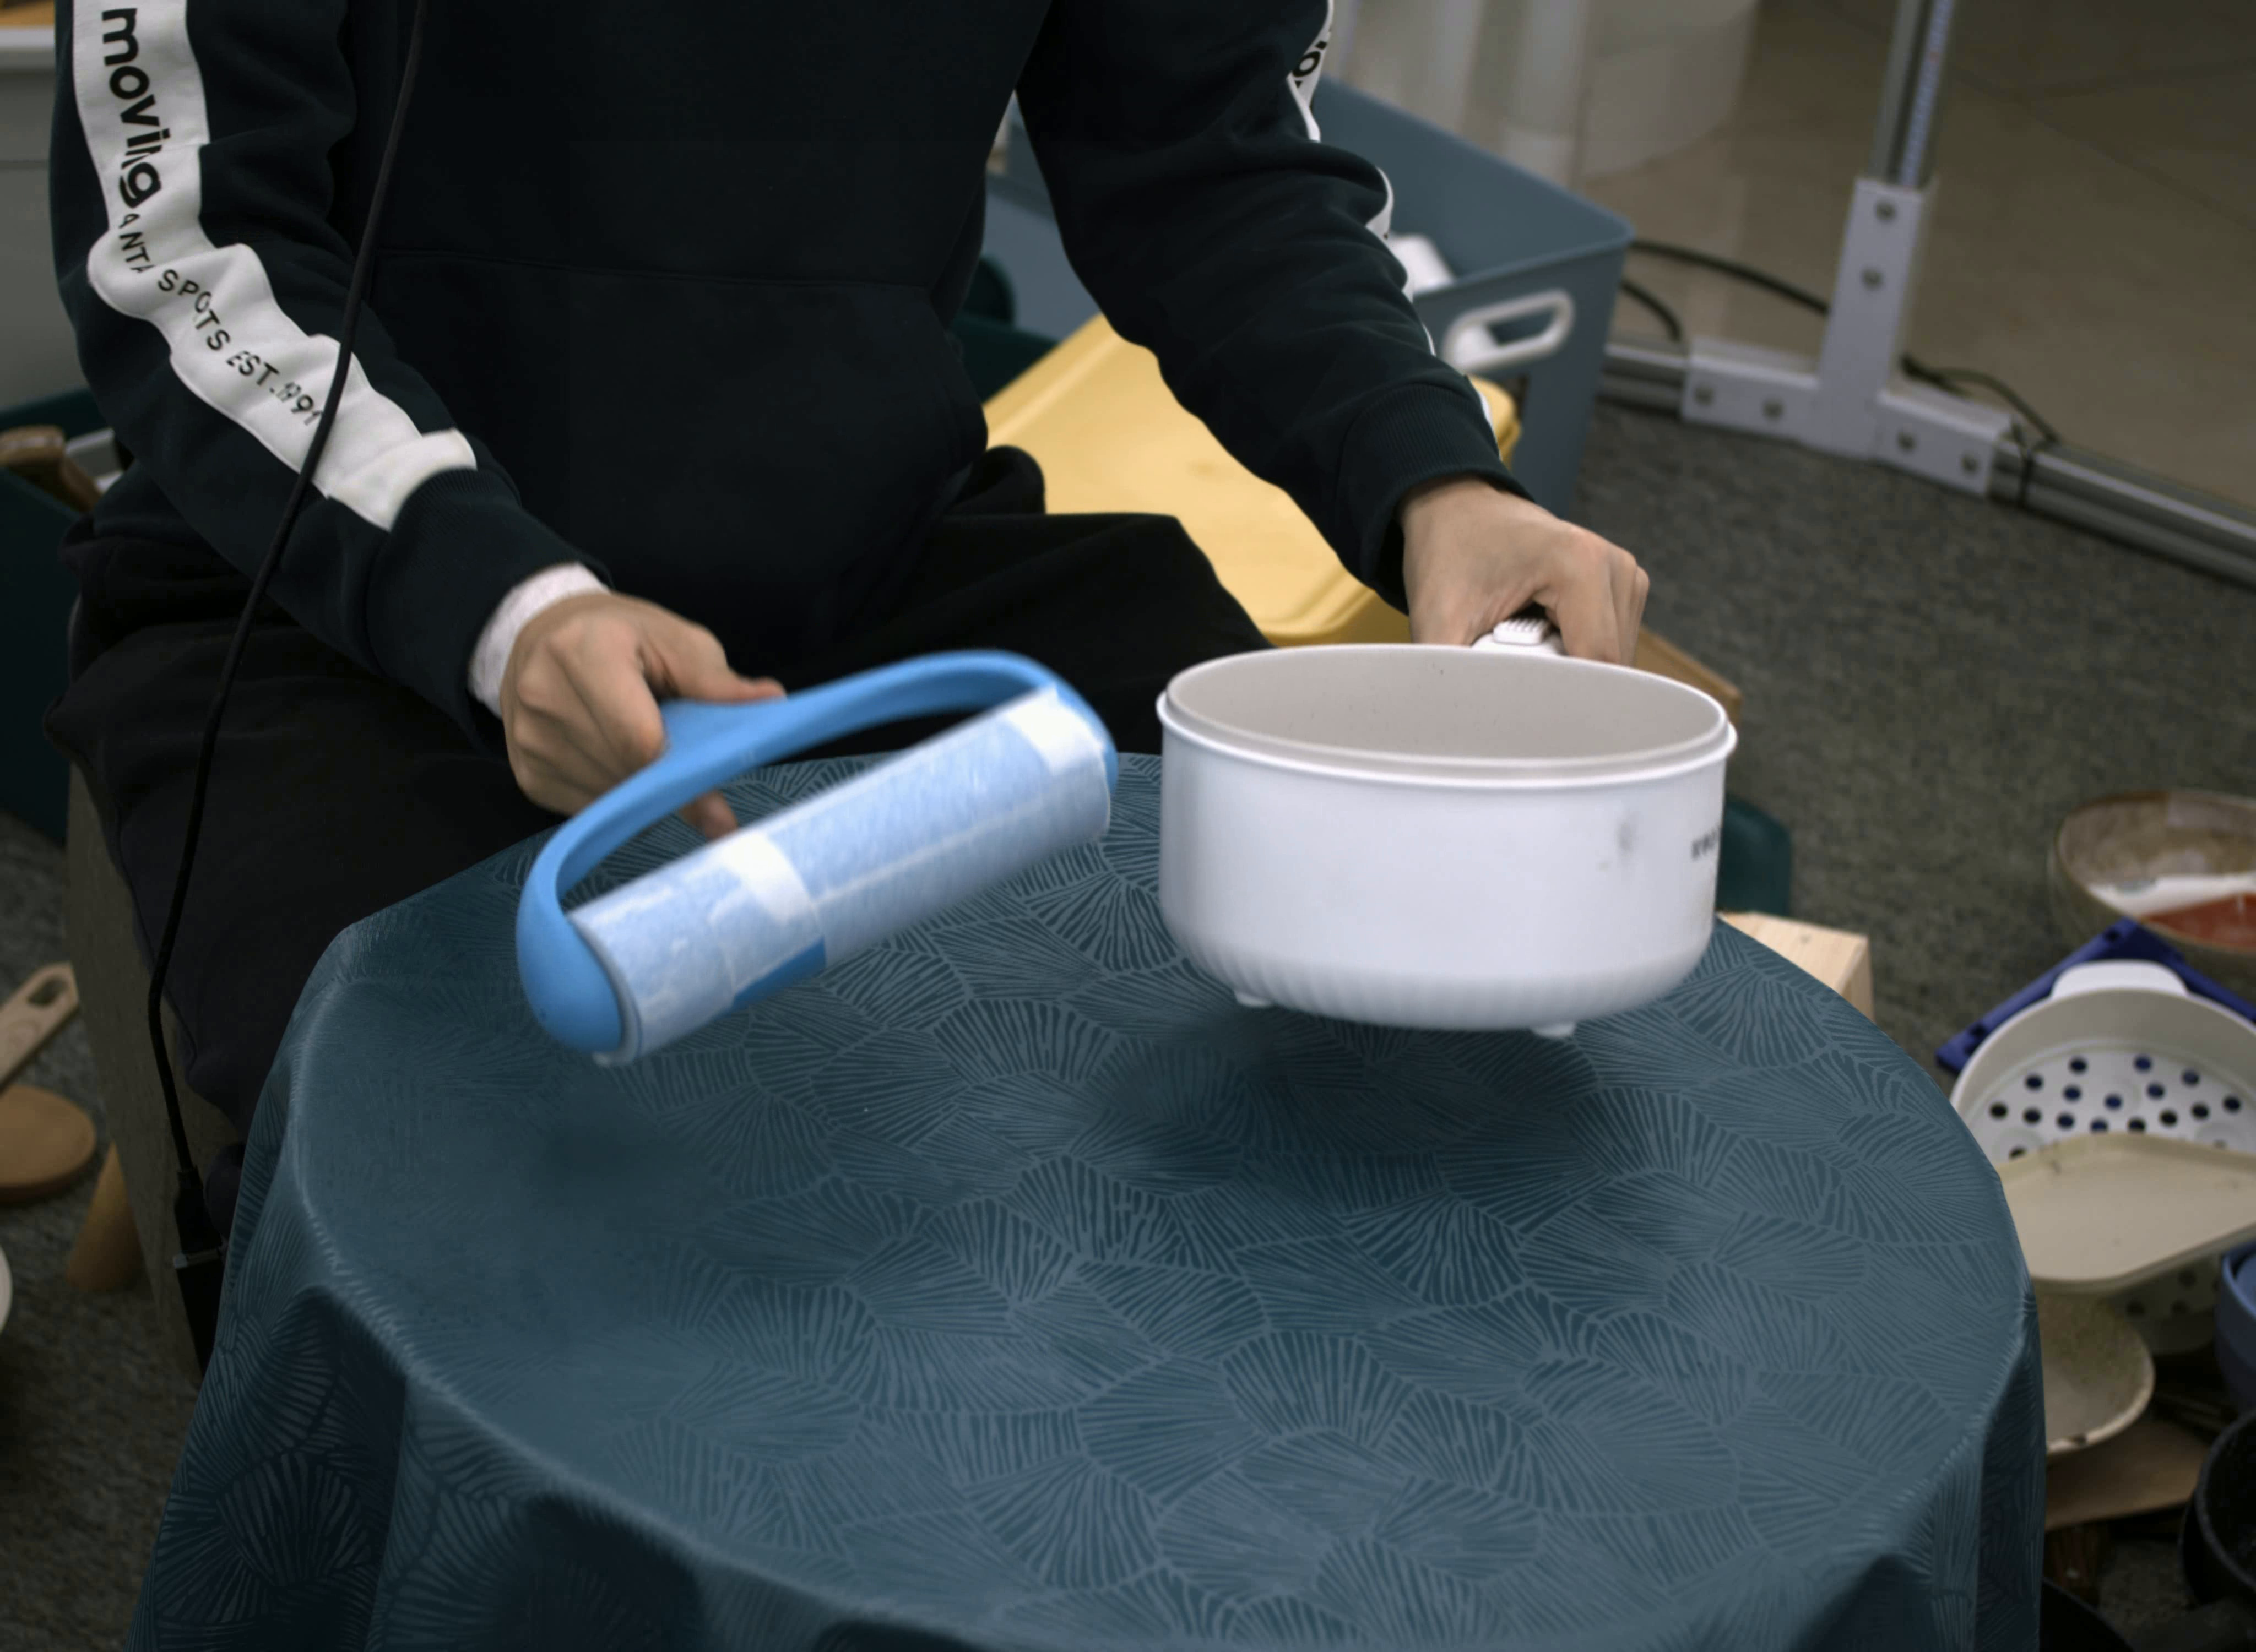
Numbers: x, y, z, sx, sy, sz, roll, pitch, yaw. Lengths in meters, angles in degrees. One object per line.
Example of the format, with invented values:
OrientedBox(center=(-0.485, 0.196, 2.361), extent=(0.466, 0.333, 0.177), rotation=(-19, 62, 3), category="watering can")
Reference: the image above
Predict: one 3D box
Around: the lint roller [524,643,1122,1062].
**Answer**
OrientedBox(center=(-0.134, -0.010, 1.791), extent=(0.228, 0.067, 0.182), rotation=(-30, 40, -30), category="lint roller")

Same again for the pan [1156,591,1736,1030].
OrientedBox(center=(0.127, -0.011, 1.923), extent=(0.201, 0.102, 0.354), rotation=(5, 12, 14), category="pan")
